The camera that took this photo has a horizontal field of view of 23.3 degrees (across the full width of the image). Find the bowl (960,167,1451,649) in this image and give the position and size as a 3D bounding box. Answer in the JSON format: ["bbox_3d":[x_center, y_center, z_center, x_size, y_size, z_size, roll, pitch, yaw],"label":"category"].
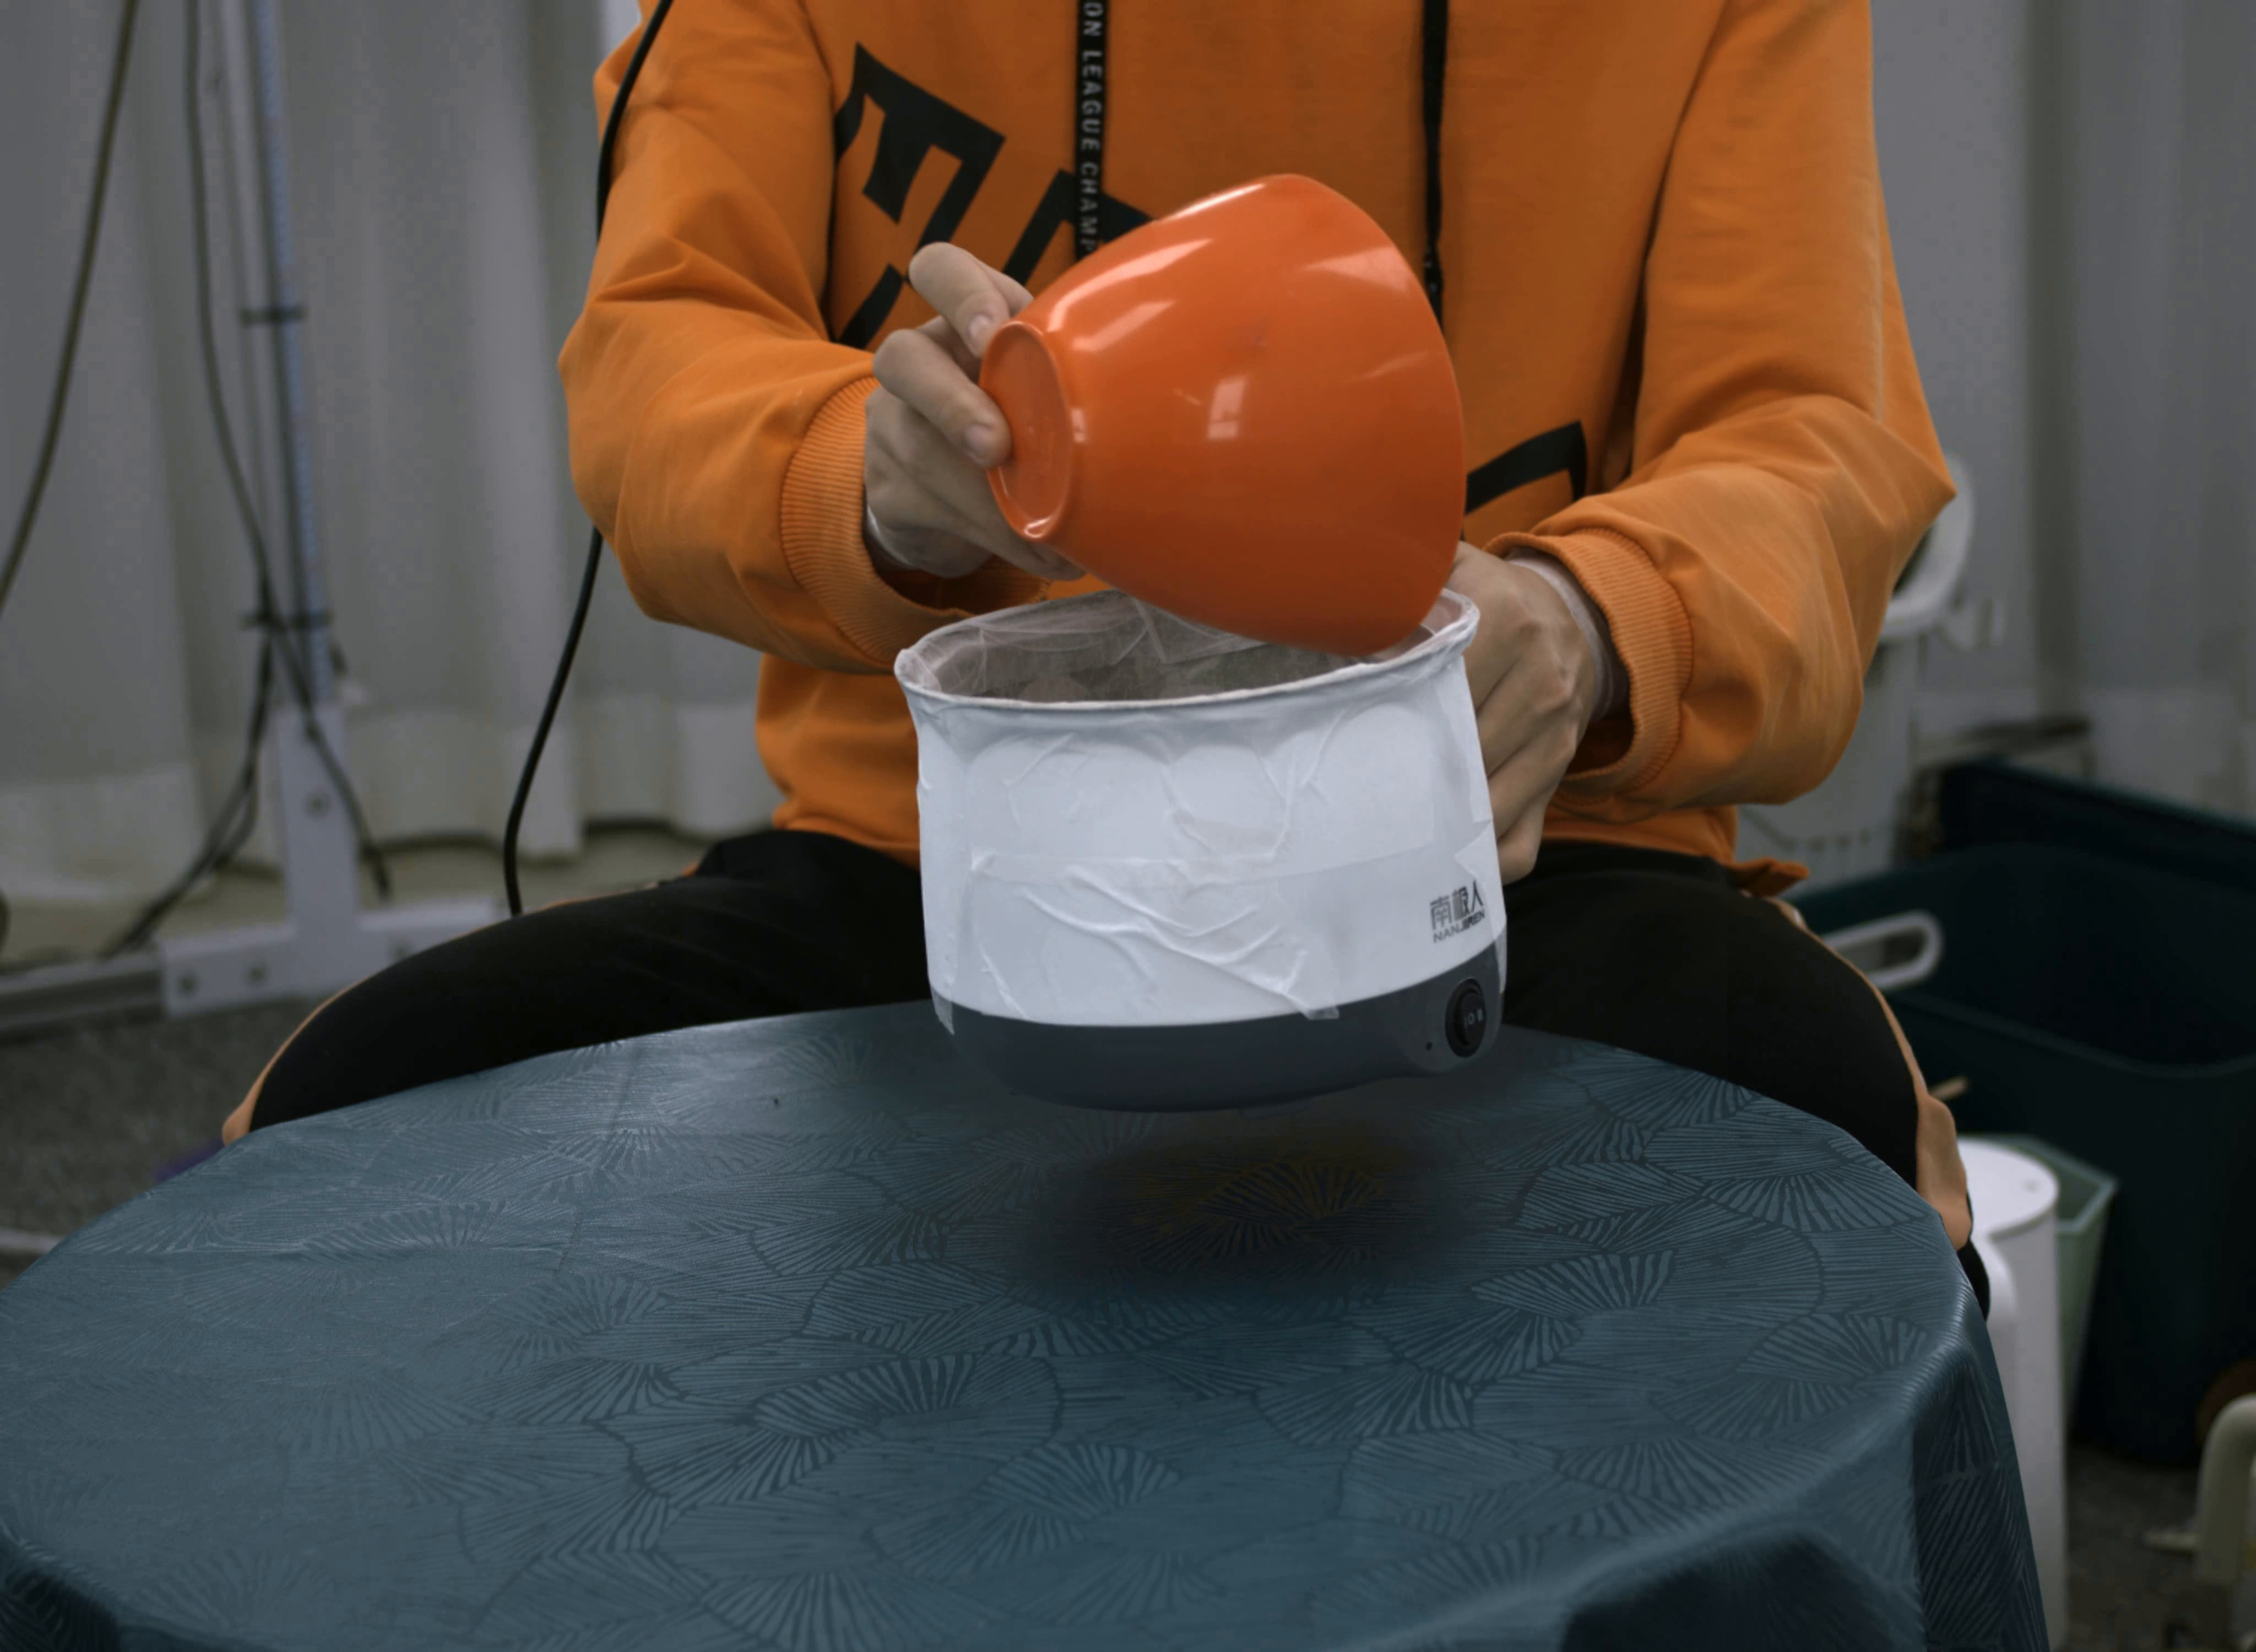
[{"bbox_3d":[0.015,-0.120,1.638,0.104,0.147,0.149,-9,16,-26],"label":"bowl"}]

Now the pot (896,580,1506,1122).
[{"bbox_3d":[0.038,-0.002,1.679,0.179,0.136,0.234,3,16,32],"label":"pot"}]
